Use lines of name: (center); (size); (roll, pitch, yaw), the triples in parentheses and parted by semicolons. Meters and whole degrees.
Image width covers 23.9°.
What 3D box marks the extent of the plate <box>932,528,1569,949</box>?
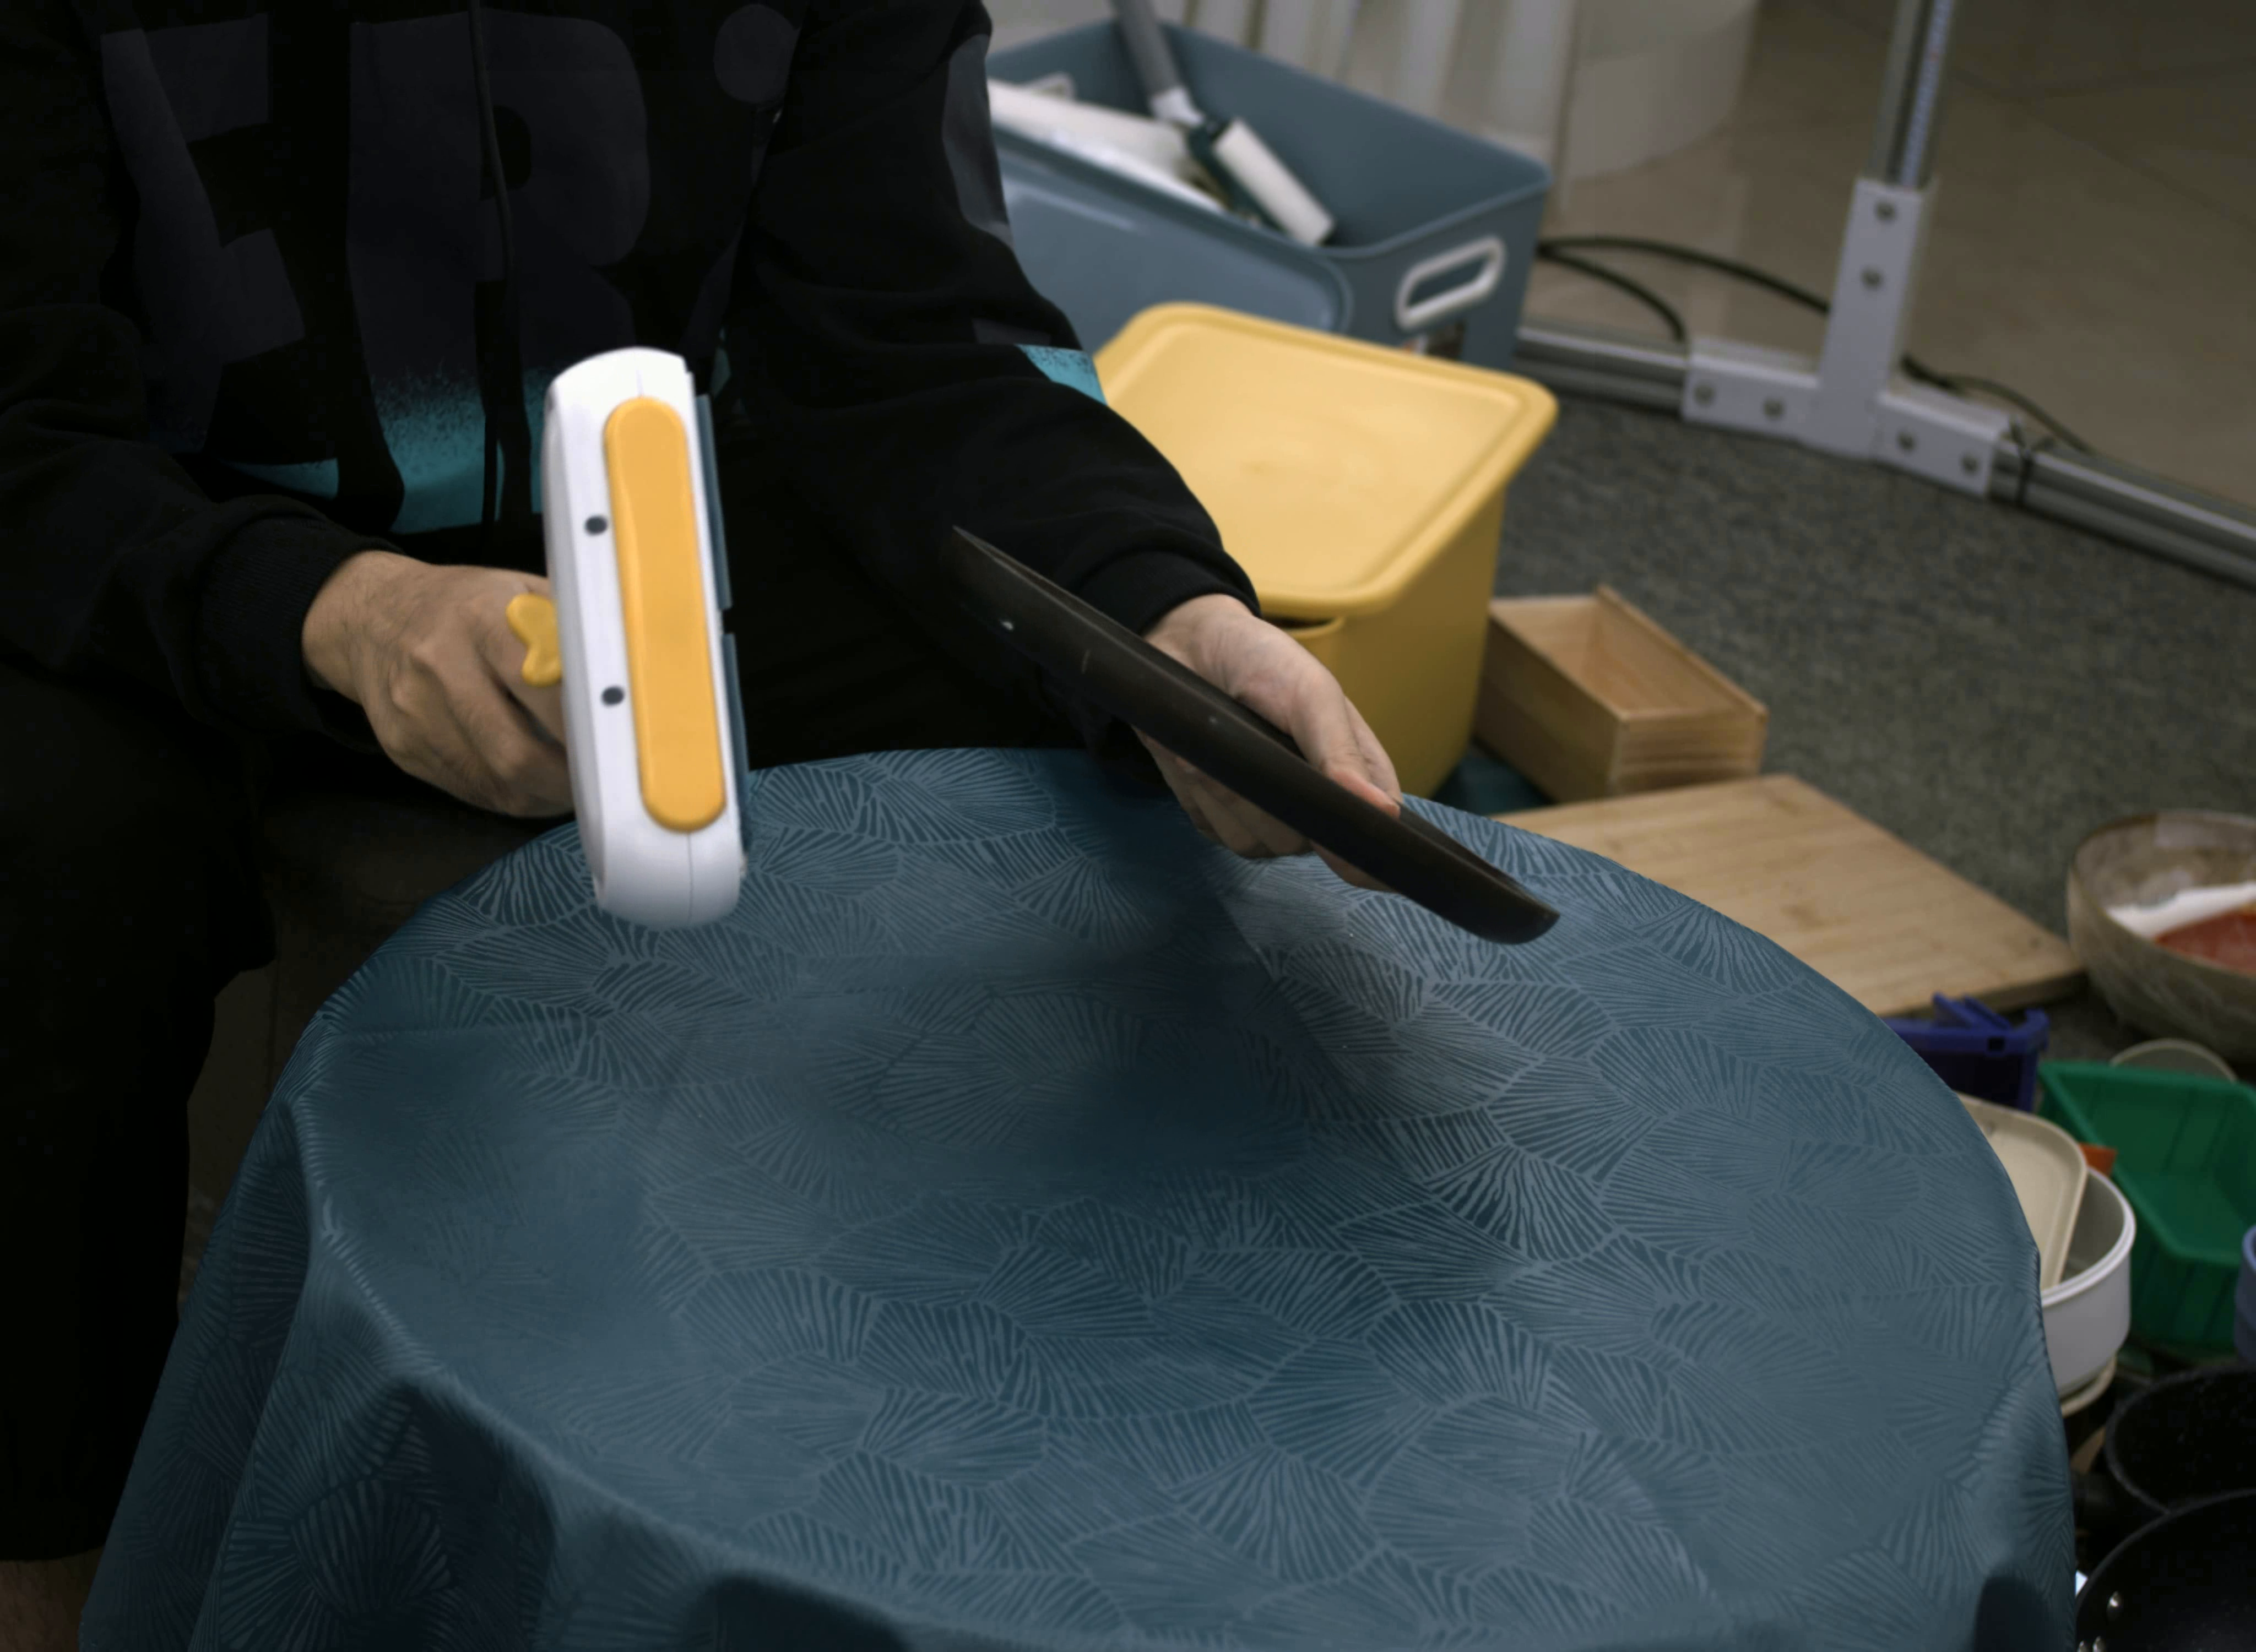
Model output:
plate: (0.039, -0.029, 1.847); (0.254, 0.029, 0.255); (31, 2, -2)

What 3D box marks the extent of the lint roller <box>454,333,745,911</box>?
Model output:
lint roller: (-0.184, -0.048, 1.796); (0.074, 0.194, 0.192); (-8, -15, -19)
